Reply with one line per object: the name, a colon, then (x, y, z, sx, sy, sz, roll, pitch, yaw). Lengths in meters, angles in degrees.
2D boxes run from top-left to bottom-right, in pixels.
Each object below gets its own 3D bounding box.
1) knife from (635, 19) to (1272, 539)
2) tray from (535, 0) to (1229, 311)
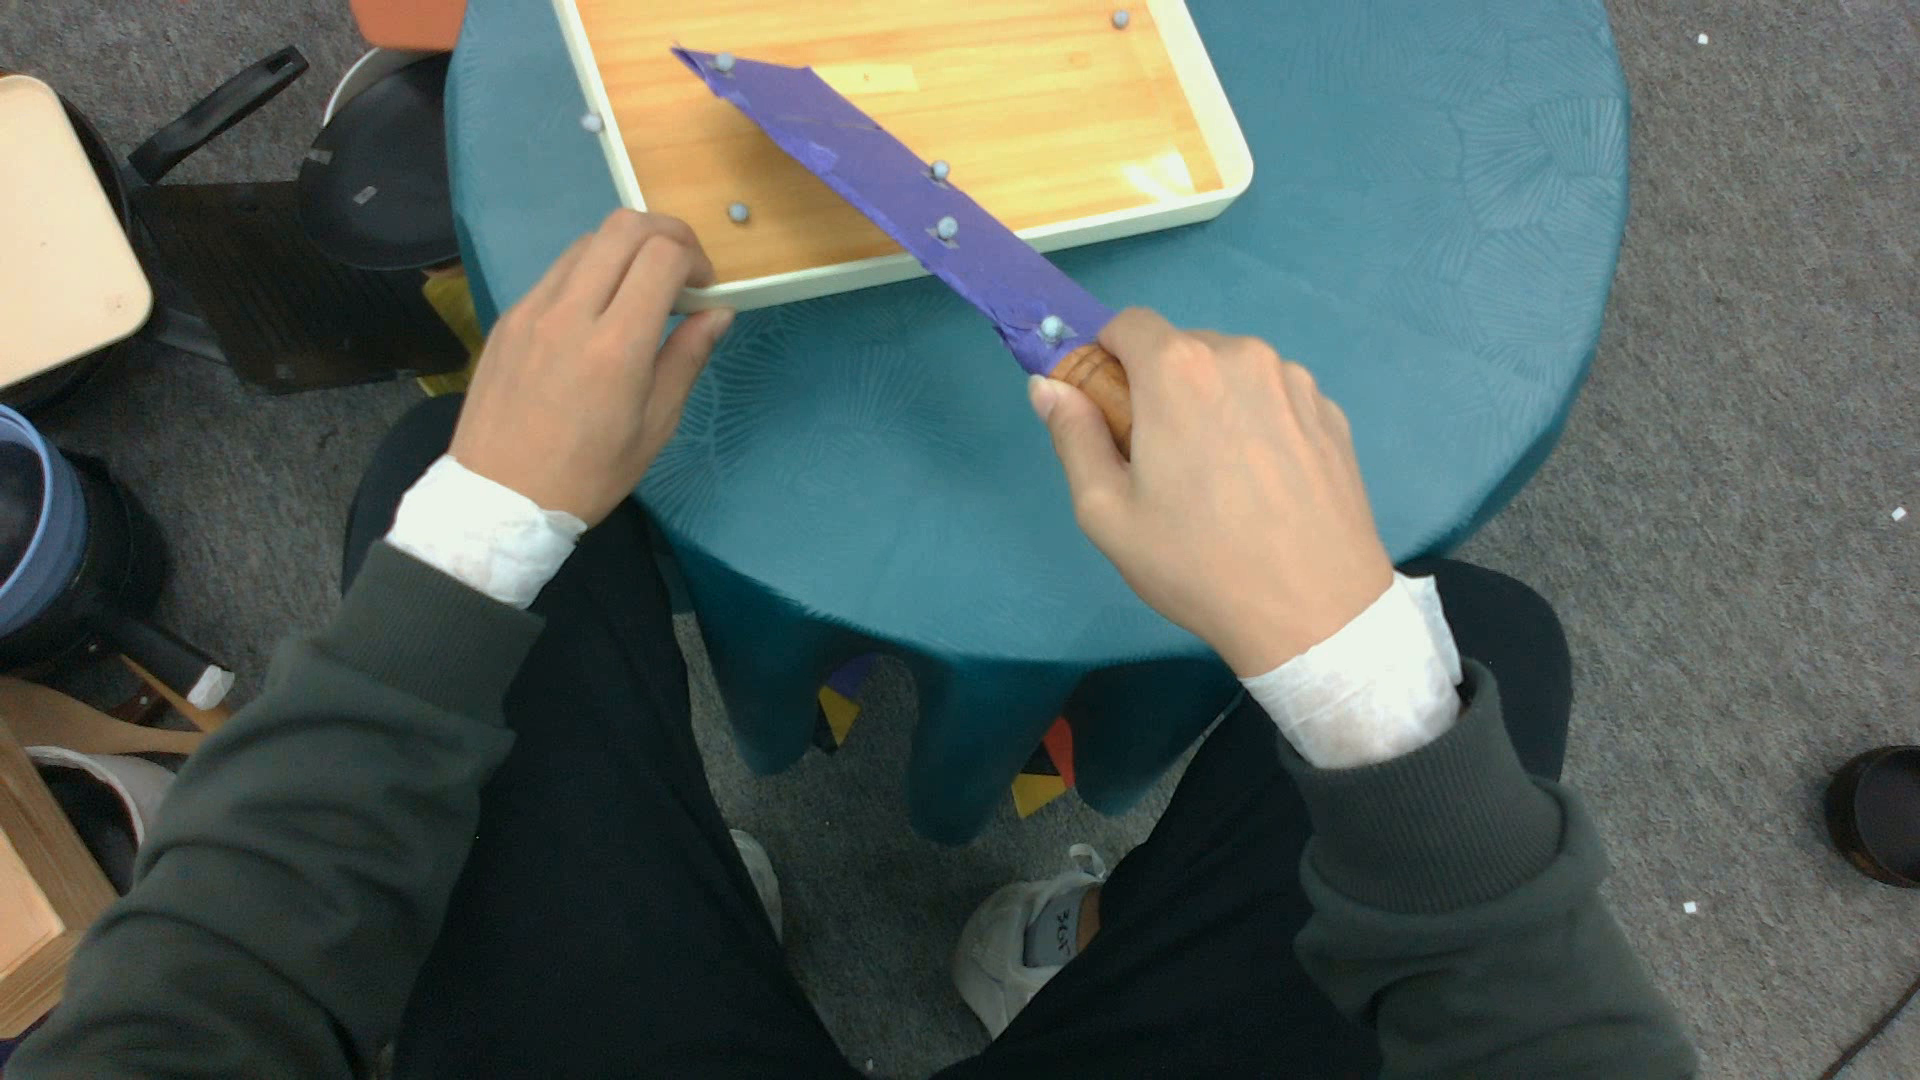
knife: (0.006, -0.118, 0.540, 0.315, 0.104, 0.032, 44, 121, 18)
tray: (-0.030, -0.220, 0.643, 0.301, 0.027, 0.192, -16, 79, -24)
